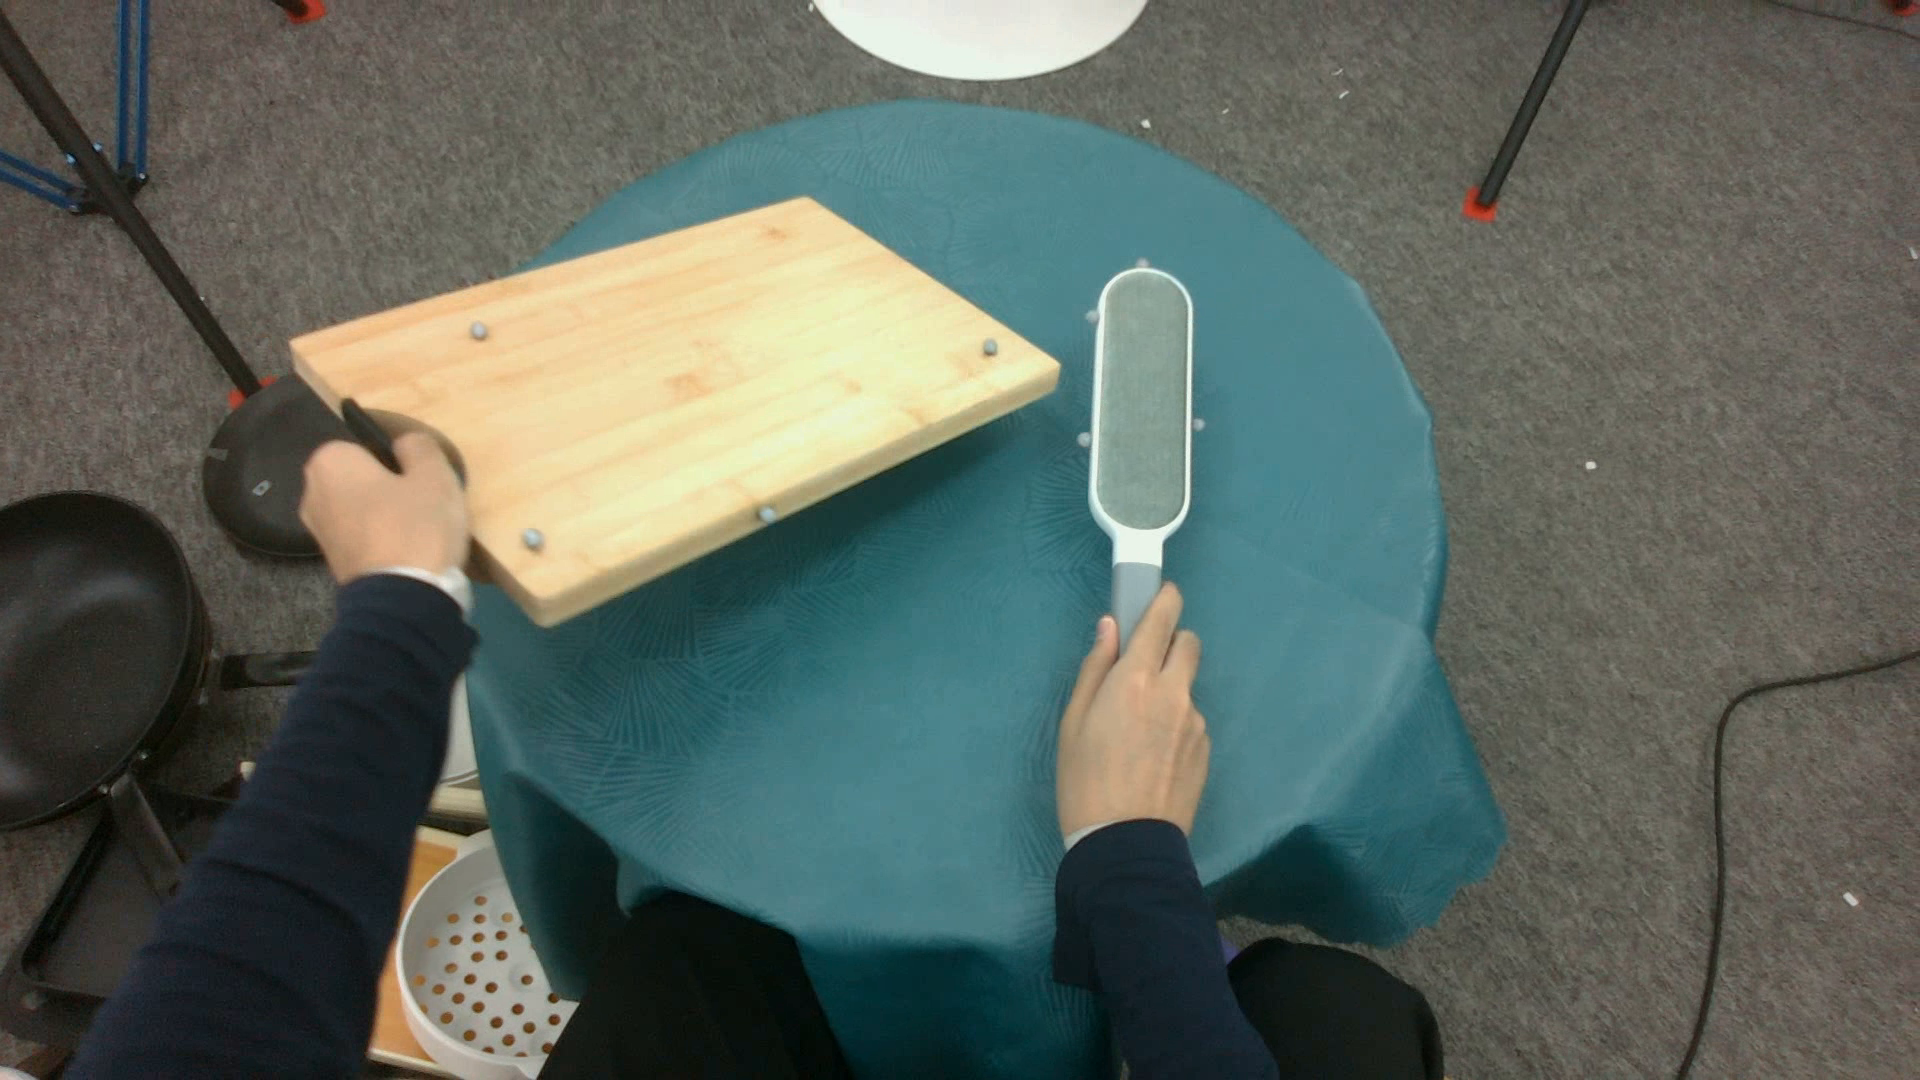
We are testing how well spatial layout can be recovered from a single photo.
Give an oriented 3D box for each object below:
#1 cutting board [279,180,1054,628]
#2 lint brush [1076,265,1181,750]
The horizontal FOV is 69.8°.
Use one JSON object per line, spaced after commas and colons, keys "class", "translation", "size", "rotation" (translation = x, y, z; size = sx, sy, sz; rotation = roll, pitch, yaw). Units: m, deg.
{"class": "cutting board", "translation": [-0.147, -0.099, 0.764], "size": [0.251, 0.023, 0.350], "rotation": [38, 47, 26]}
{"class": "lint brush", "translation": [0.093, -0.030, 0.771], "size": [0.060, 0.021, 0.310], "rotation": [8, 62, -5]}
